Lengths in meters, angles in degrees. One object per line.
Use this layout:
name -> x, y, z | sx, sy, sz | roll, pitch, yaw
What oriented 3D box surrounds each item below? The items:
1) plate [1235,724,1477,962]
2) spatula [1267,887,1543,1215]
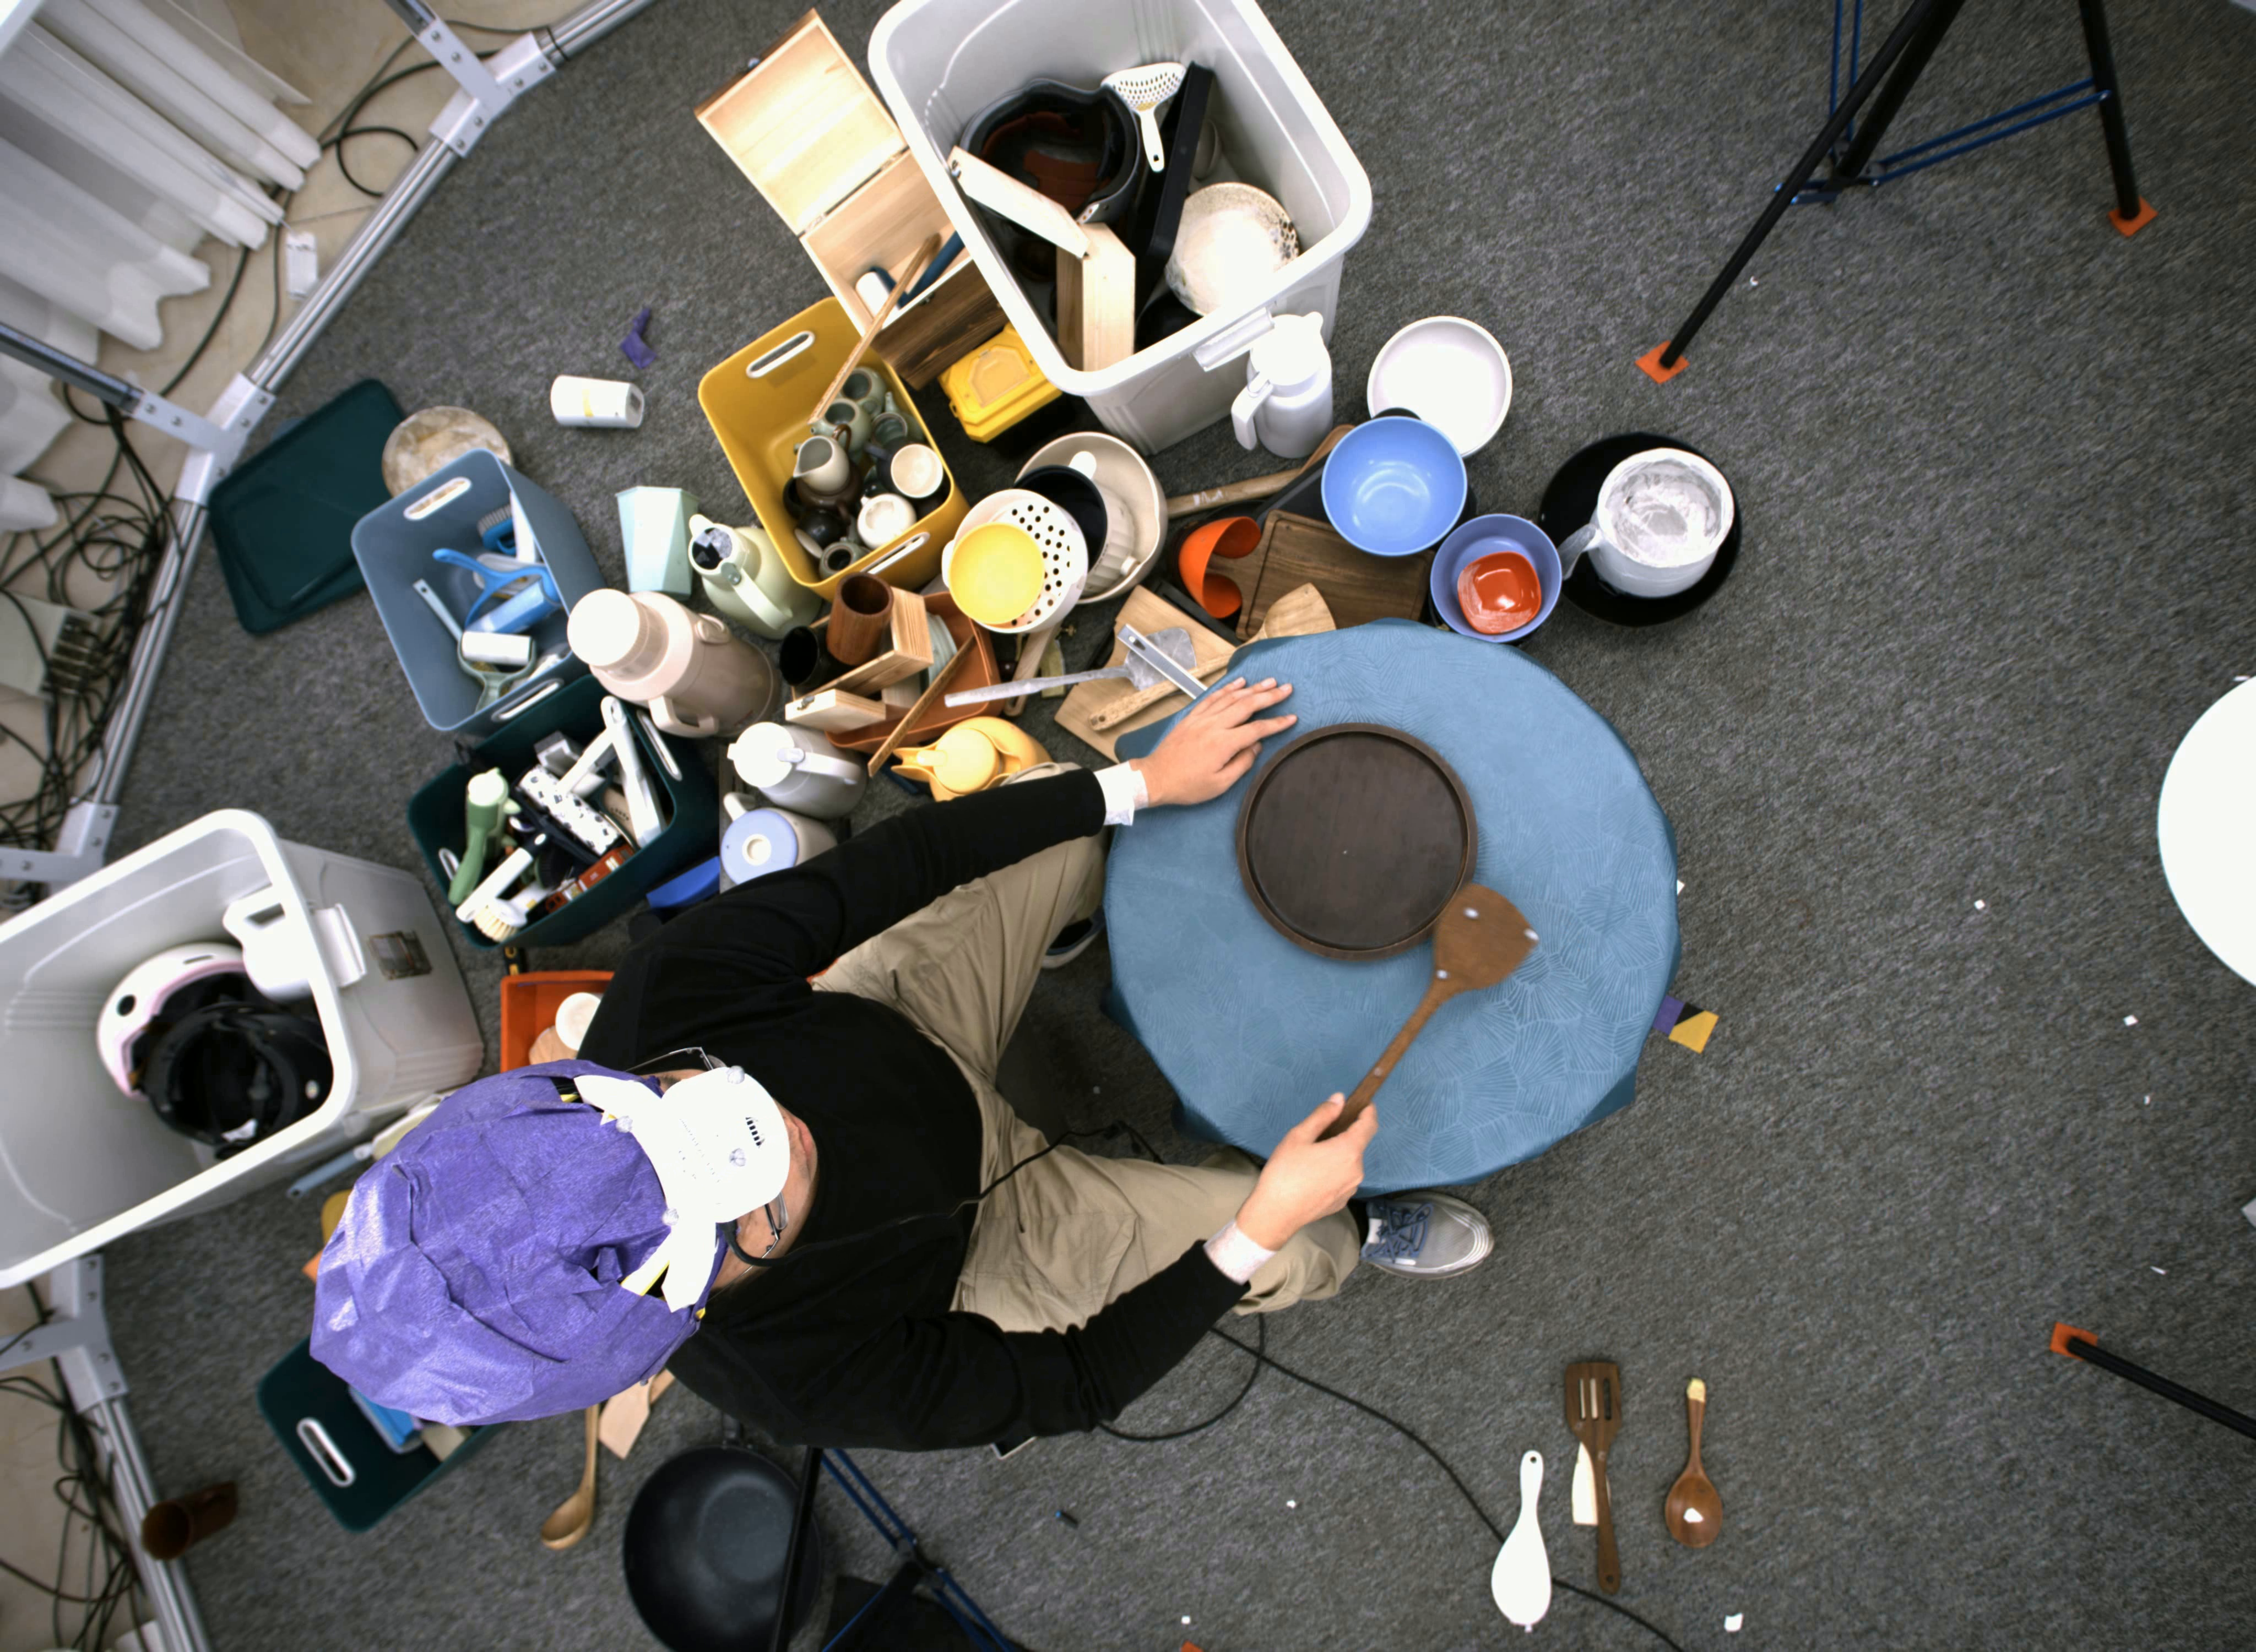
plate -> 0.240, 0.016, 1.458 | 0.256, 0.029, 0.254 | -1, 87, 9
spatula -> 0.262, 0.223, 1.344 | 0.096, 0.016, 0.384 | 41, 84, -5
